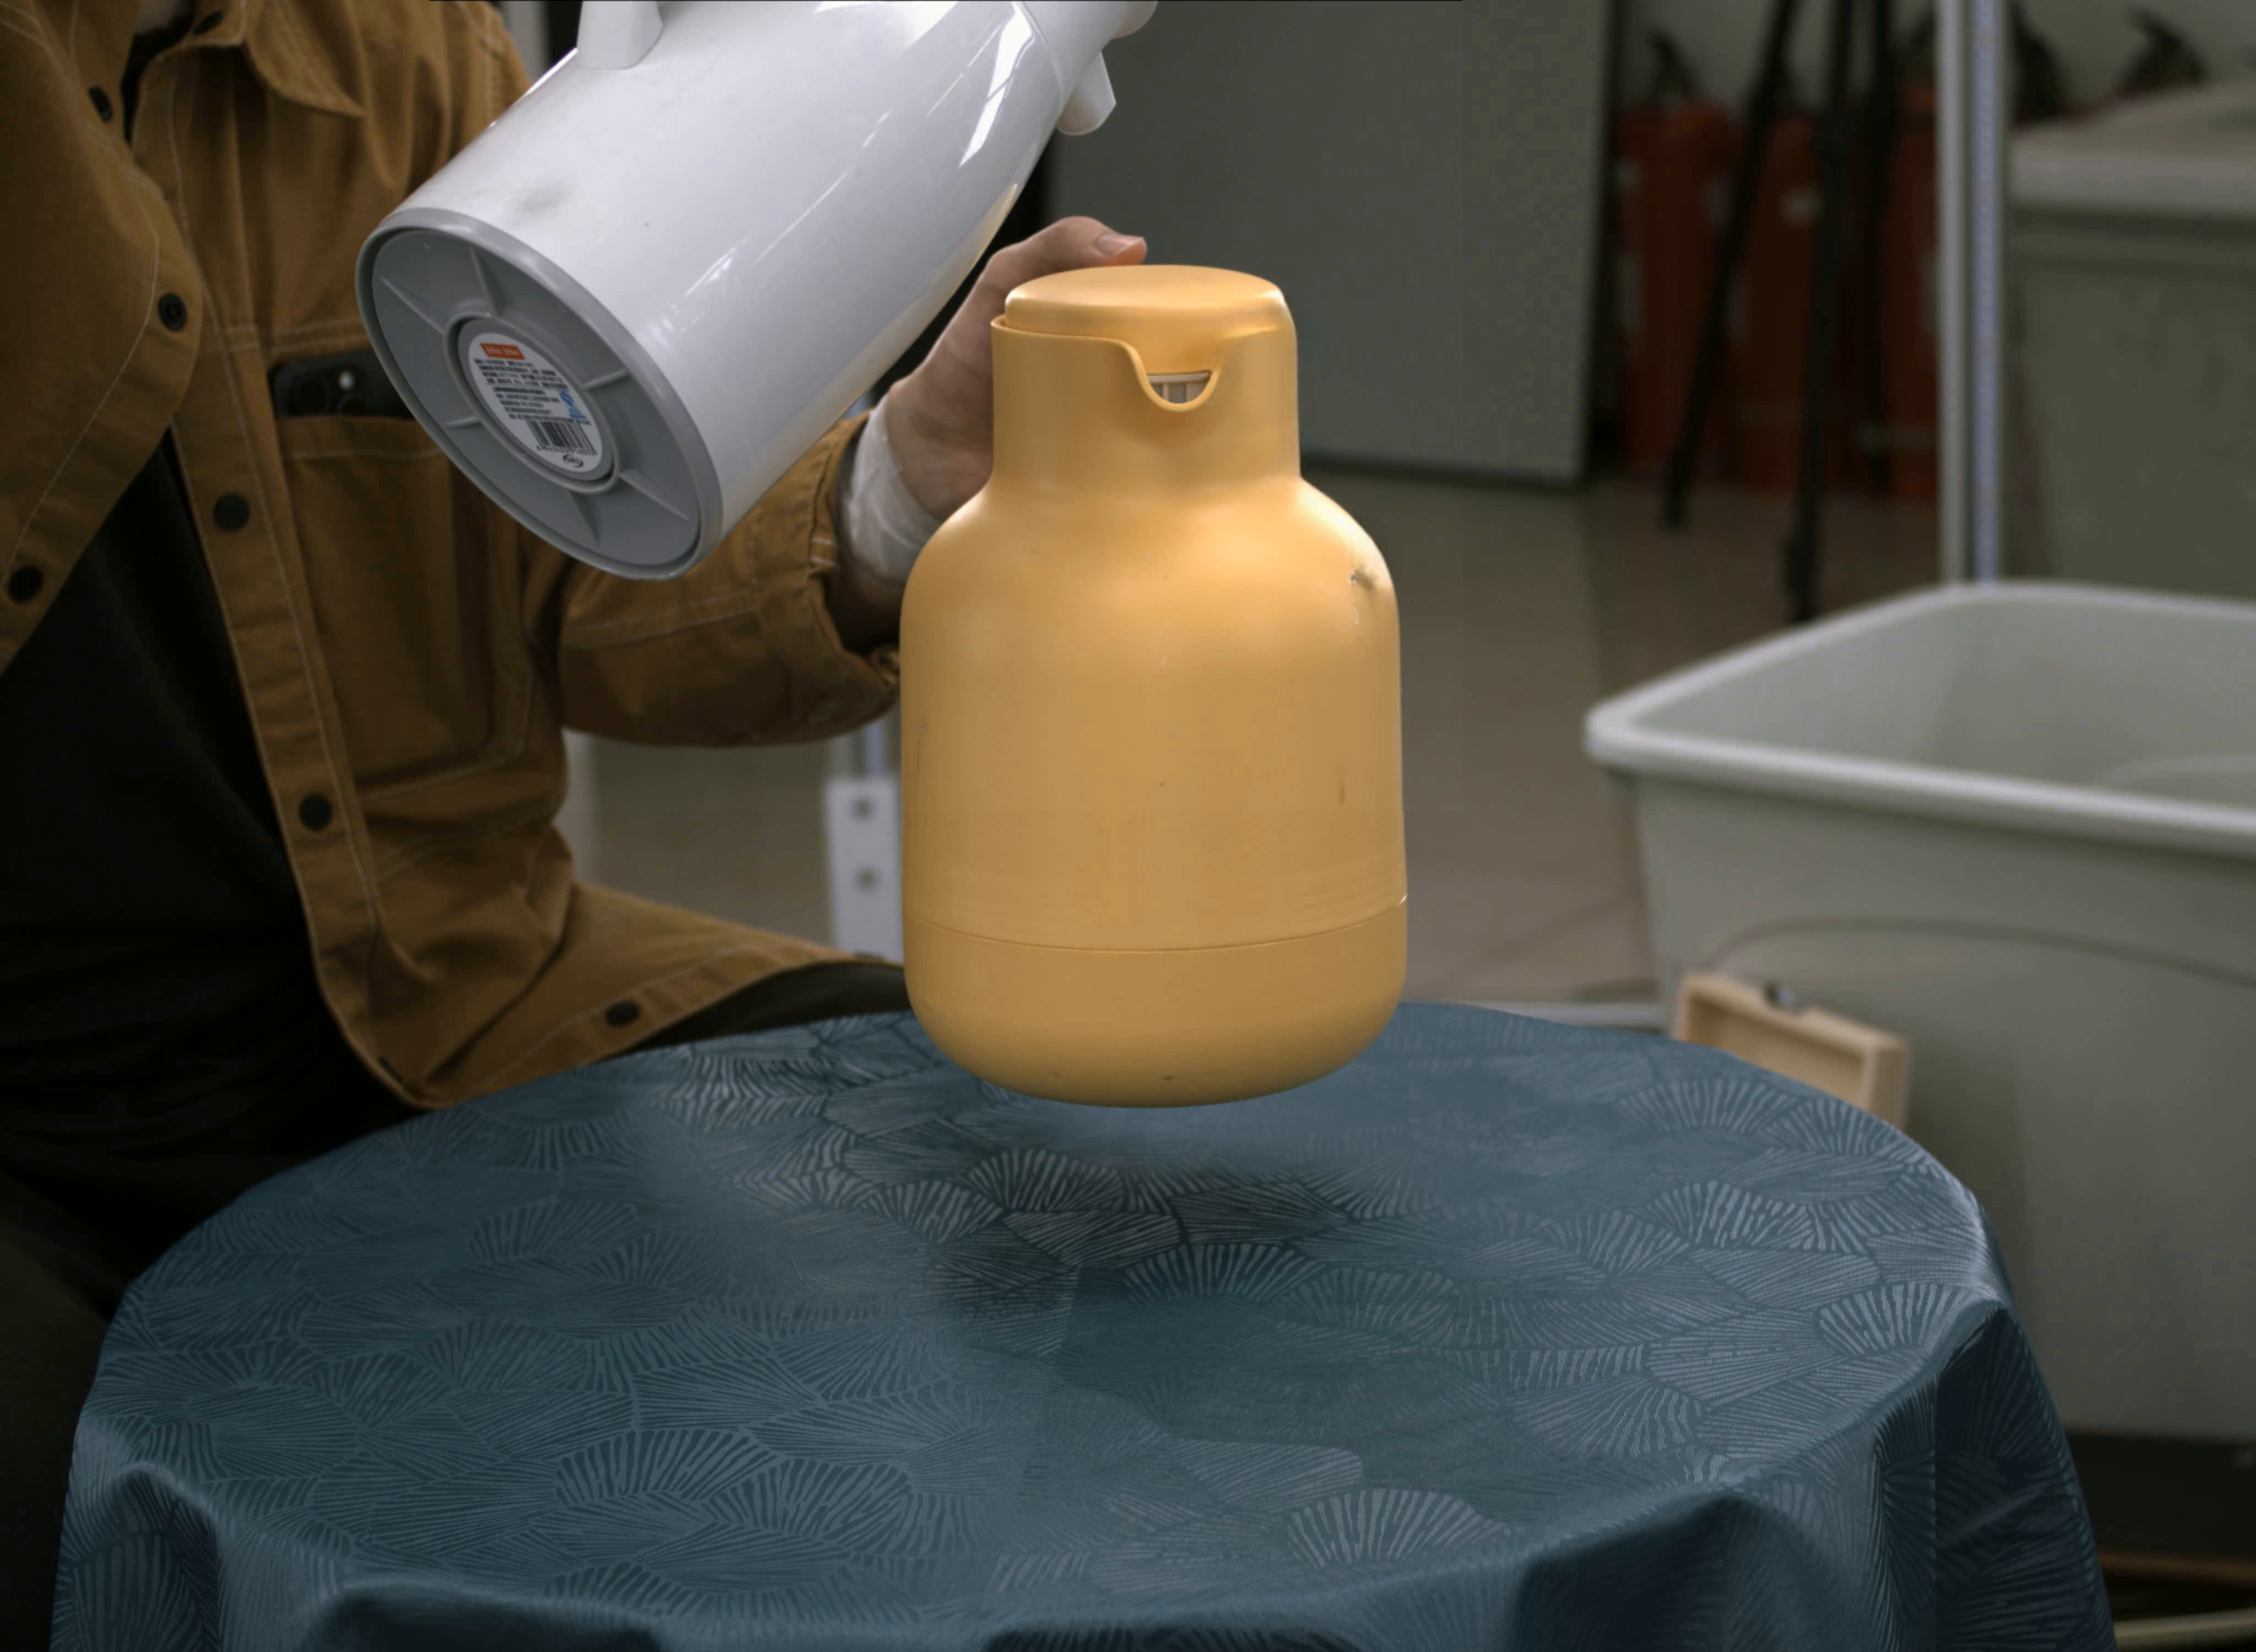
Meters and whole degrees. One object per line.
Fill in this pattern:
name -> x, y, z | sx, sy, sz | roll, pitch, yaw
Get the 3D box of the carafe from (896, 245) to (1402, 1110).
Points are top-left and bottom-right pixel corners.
carafe -> 0.005, -0.055, 1.733 | 0.161, 0.263, 0.203 | -2, 13, -5

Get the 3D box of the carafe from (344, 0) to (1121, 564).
carafe -> -0.105, -0.220, 1.572 | 0.134, 0.167, 0.247 | 12, 51, 45
